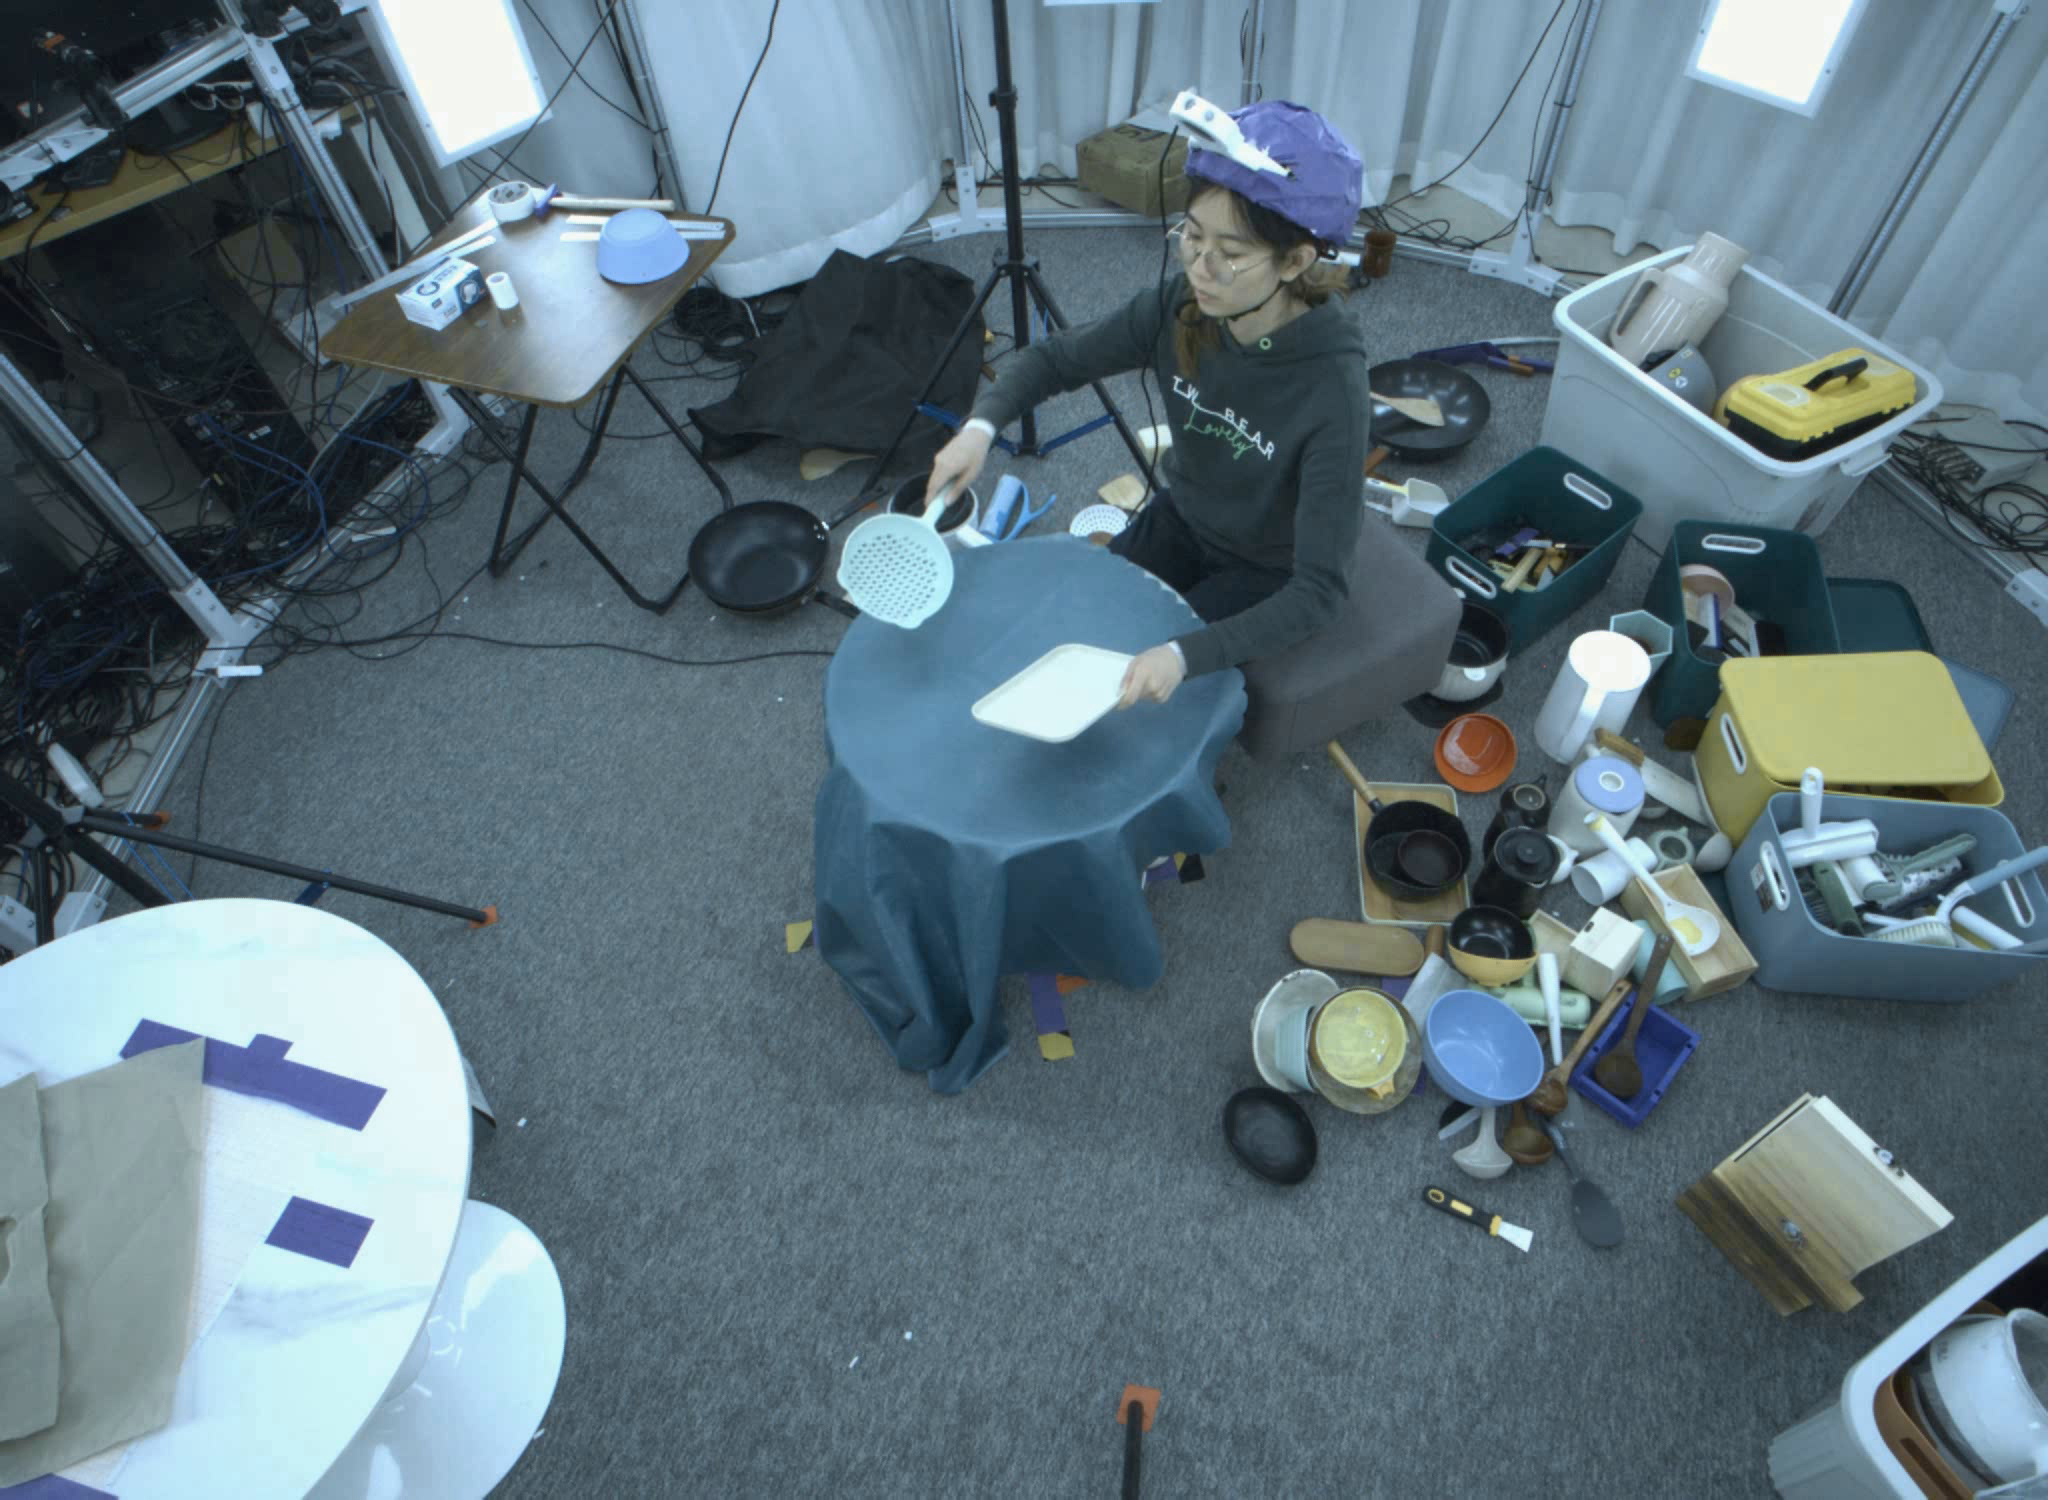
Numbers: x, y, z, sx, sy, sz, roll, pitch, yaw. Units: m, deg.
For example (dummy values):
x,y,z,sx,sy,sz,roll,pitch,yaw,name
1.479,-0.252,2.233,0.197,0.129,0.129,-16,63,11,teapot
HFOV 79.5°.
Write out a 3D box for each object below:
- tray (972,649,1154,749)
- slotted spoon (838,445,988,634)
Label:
x,y,z,sx,sy,sz,roll,pitch,yaw,name
0.056,-0.072,1.686,0.167,0.017,0.242,18,38,33,tray
-0.145,-0.335,1.842,0.171,0.074,0.359,34,76,-14,slotted spoon
